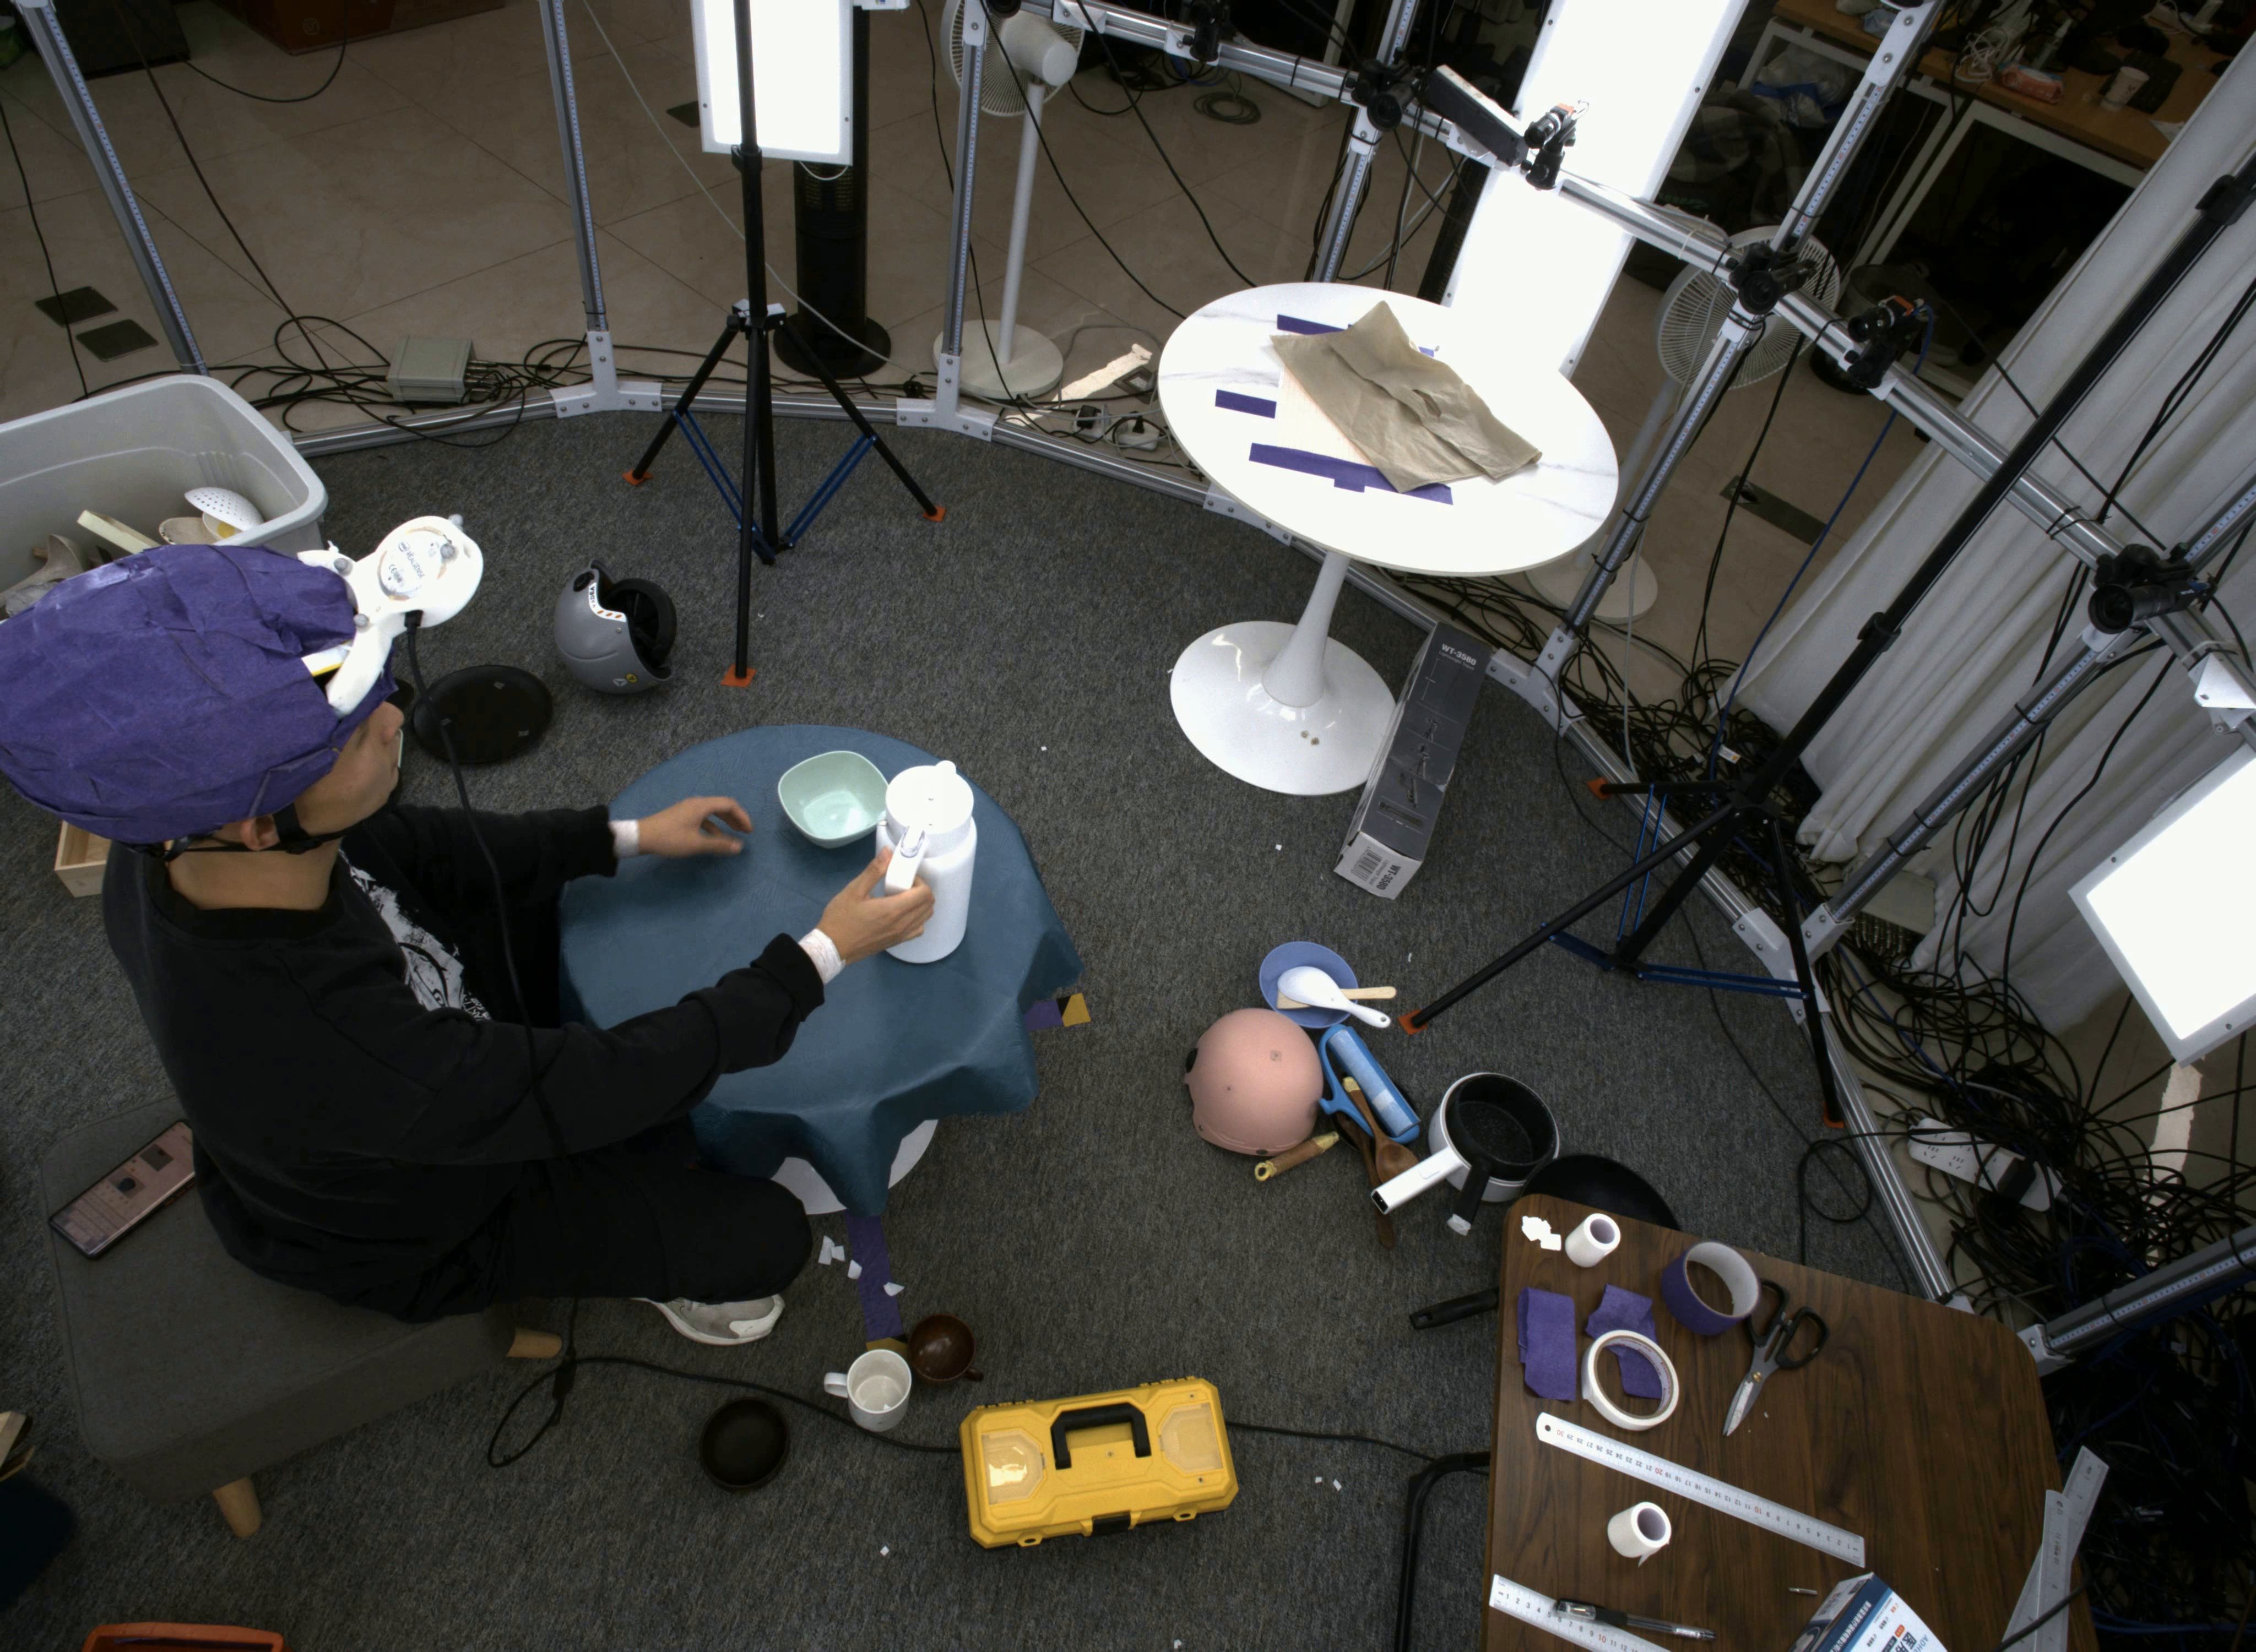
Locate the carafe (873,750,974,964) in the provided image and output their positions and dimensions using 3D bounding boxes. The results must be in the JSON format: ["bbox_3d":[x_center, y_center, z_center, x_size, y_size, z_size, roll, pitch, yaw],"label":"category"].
[{"bbox_3d":[-0.250,0.058,1.551,0.123,0.274,0.170,17,51,-1],"label":"carafe"}]

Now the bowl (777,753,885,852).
[{"bbox_3d":[-0.387,-0.023,1.715,0.151,0.060,0.149,7,52,-8],"label":"bowl"}]
